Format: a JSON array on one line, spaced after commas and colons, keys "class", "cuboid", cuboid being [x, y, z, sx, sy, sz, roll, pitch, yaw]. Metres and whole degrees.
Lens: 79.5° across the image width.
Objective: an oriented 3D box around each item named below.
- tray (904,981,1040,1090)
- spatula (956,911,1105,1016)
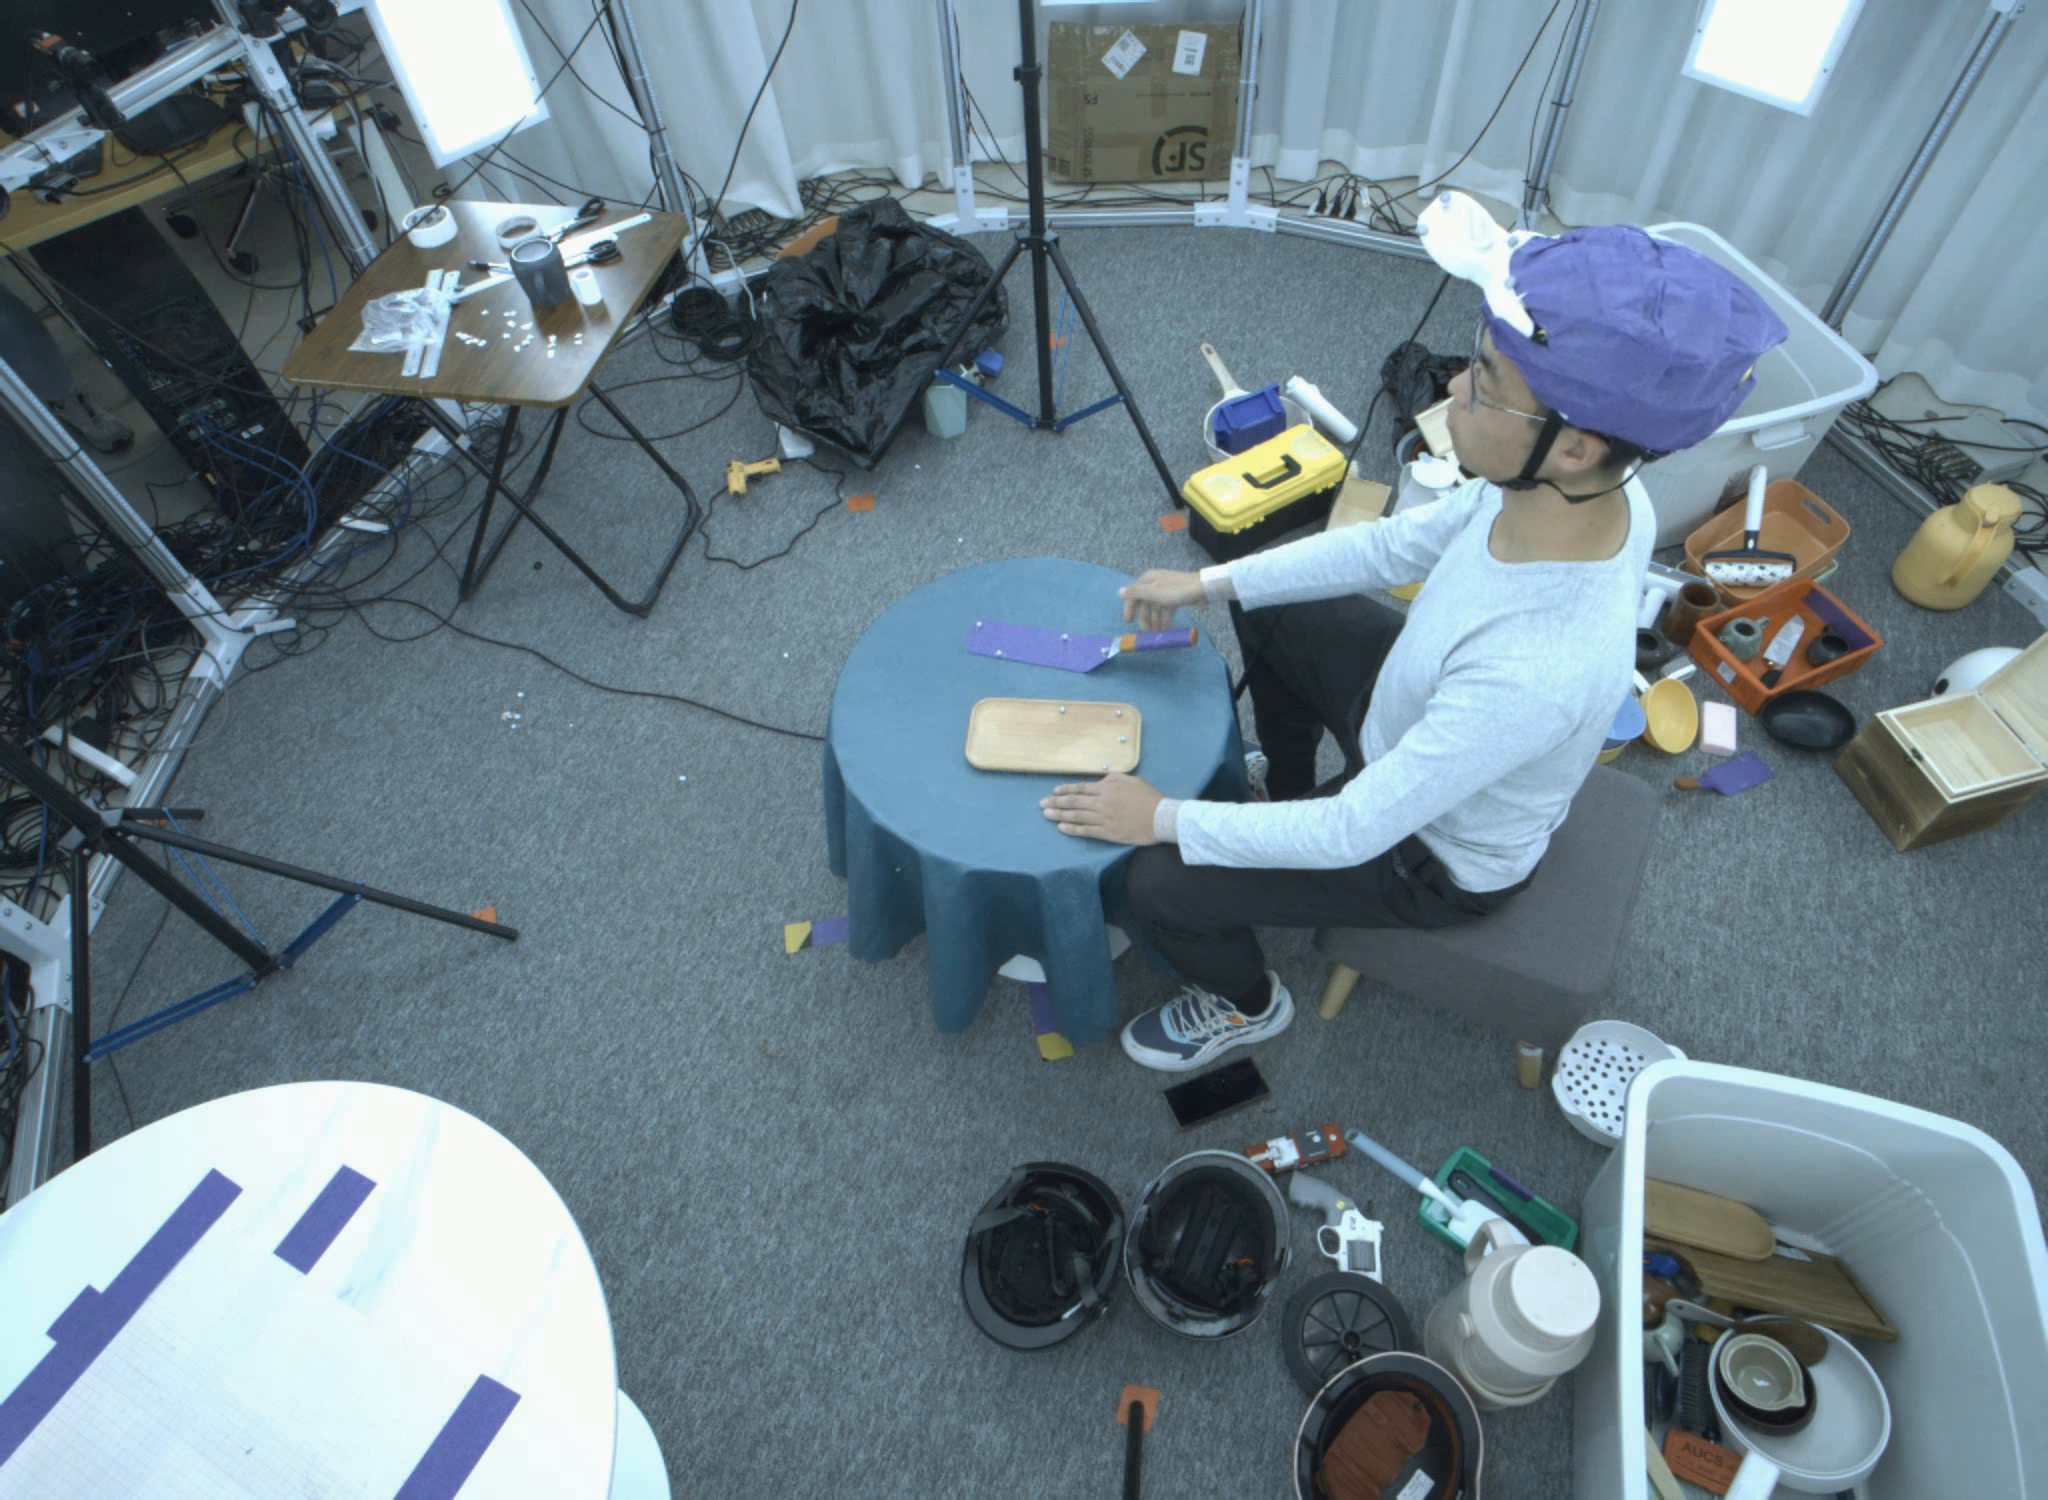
[{"class": "tray", "cuboid": [-0.100, 0.533, 2.296, 0.247, 0.023, 0.131, 27, 57, 19]}, {"class": "spatula", "cuboid": [0.010, 0.407, 2.343, 0.350, 0.088, 0.076, 19, 56, 46]}]
